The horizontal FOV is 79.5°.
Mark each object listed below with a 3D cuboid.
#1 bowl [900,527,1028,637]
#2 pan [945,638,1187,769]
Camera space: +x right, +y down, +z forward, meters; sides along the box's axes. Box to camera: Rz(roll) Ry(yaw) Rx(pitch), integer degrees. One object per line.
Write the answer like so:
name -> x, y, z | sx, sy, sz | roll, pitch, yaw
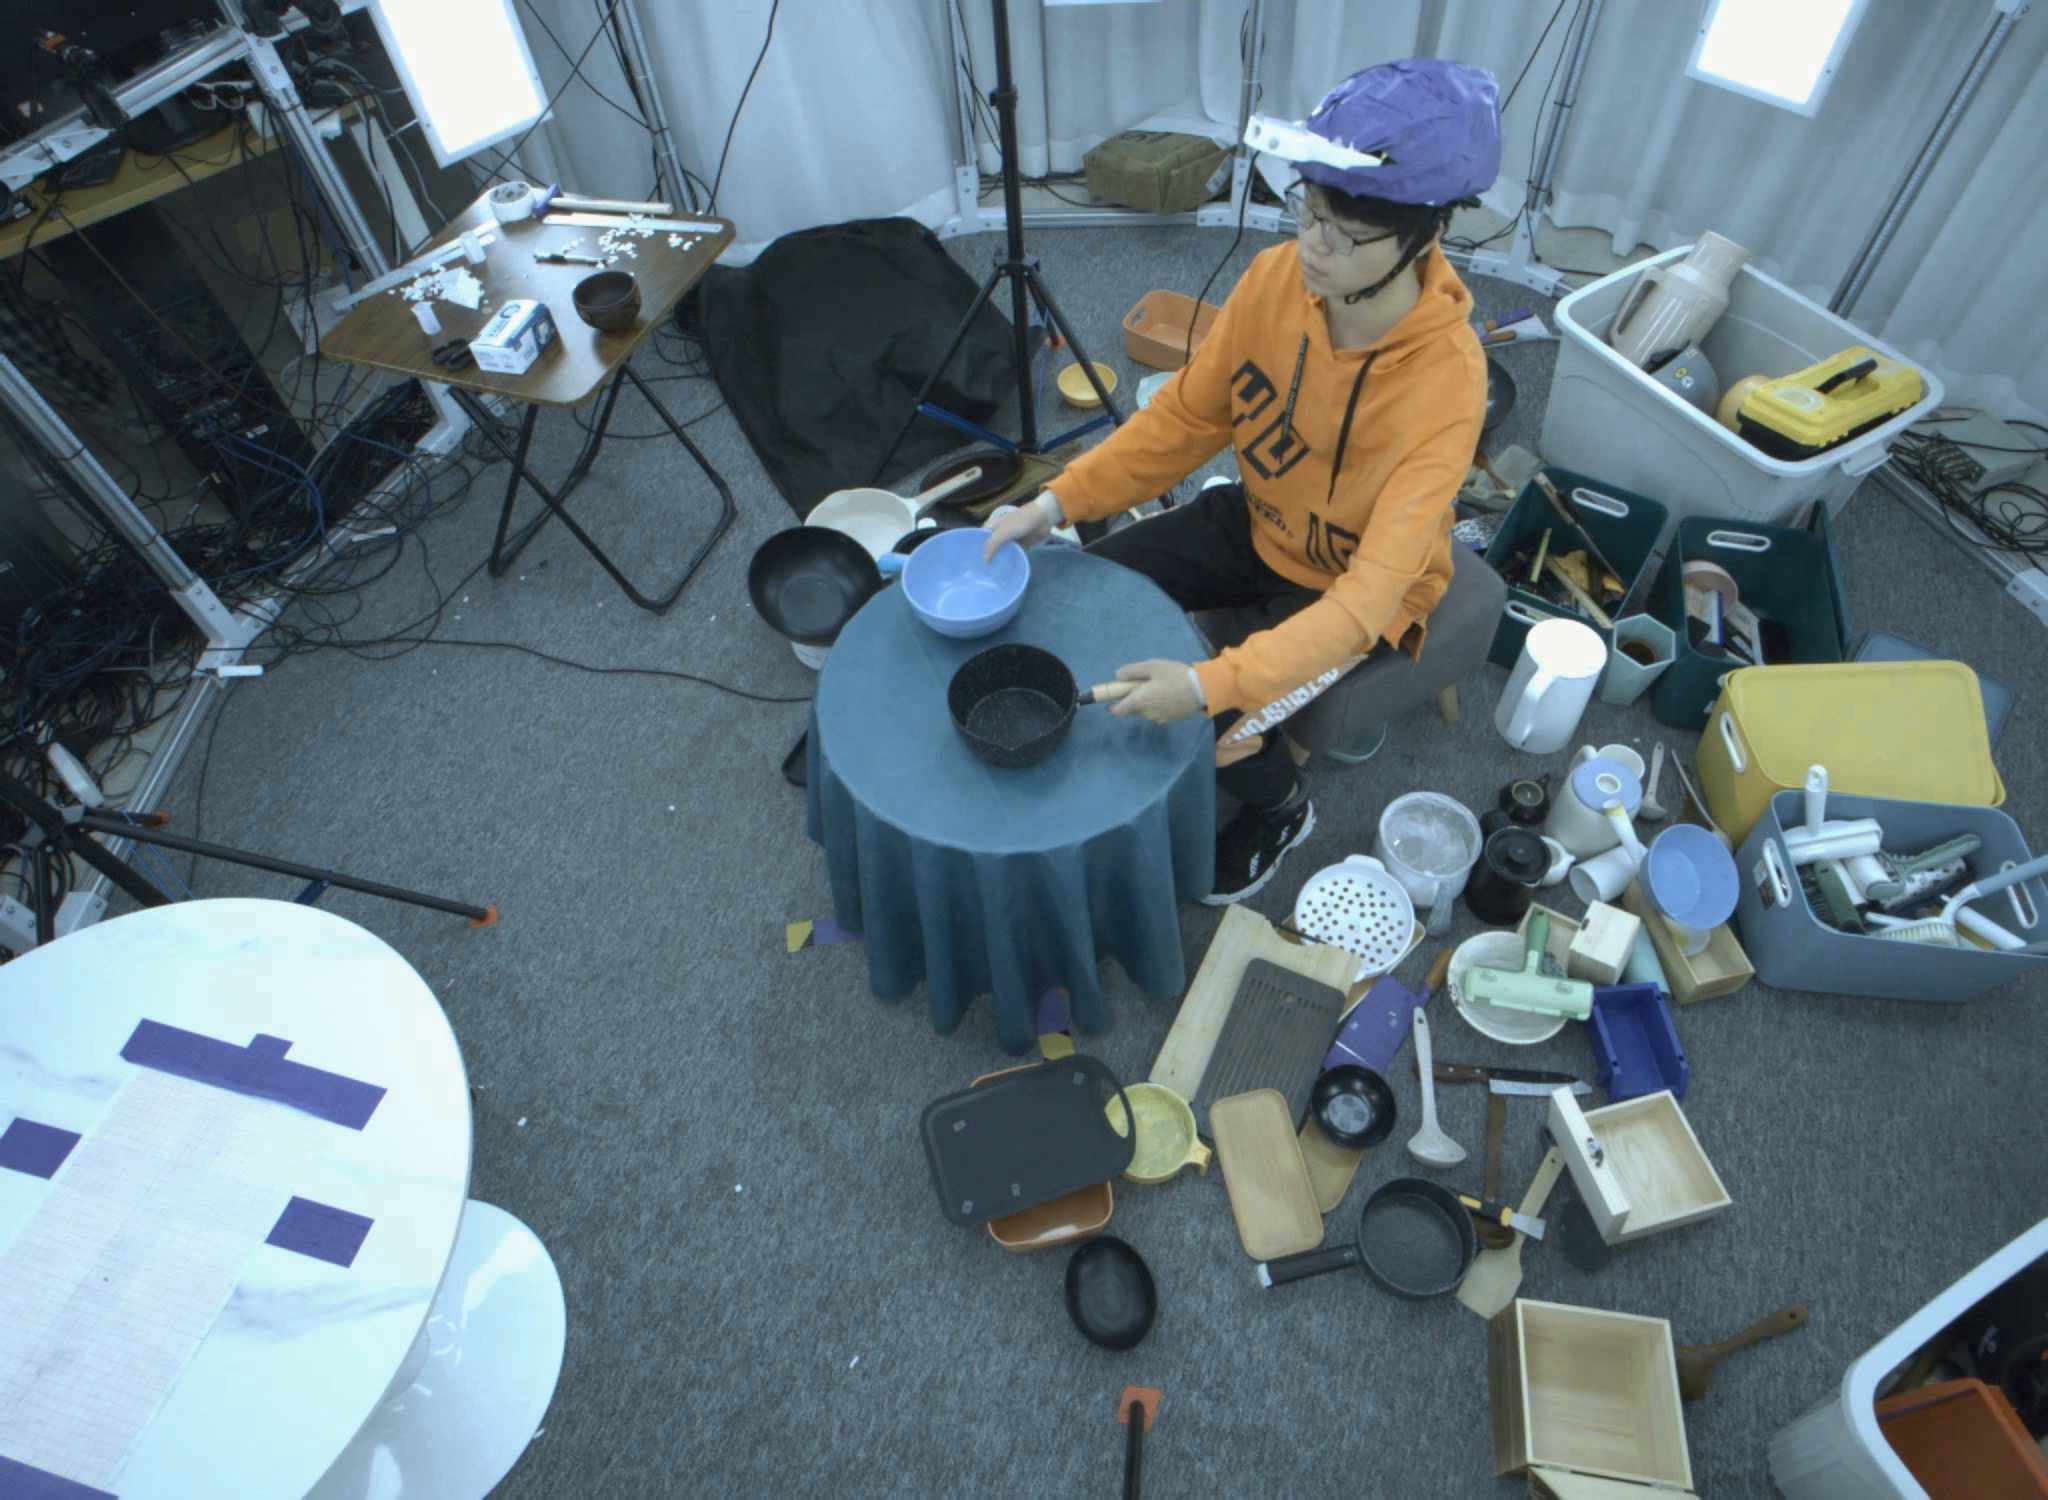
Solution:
bowl -> -0.089, -0.246, 1.904 | 0.196, 0.096, 0.194 | -1, 54, 3
pan -> 0.062, -0.070, 1.768 | 0.343, 0.109, 0.205 | -5, 53, 1
